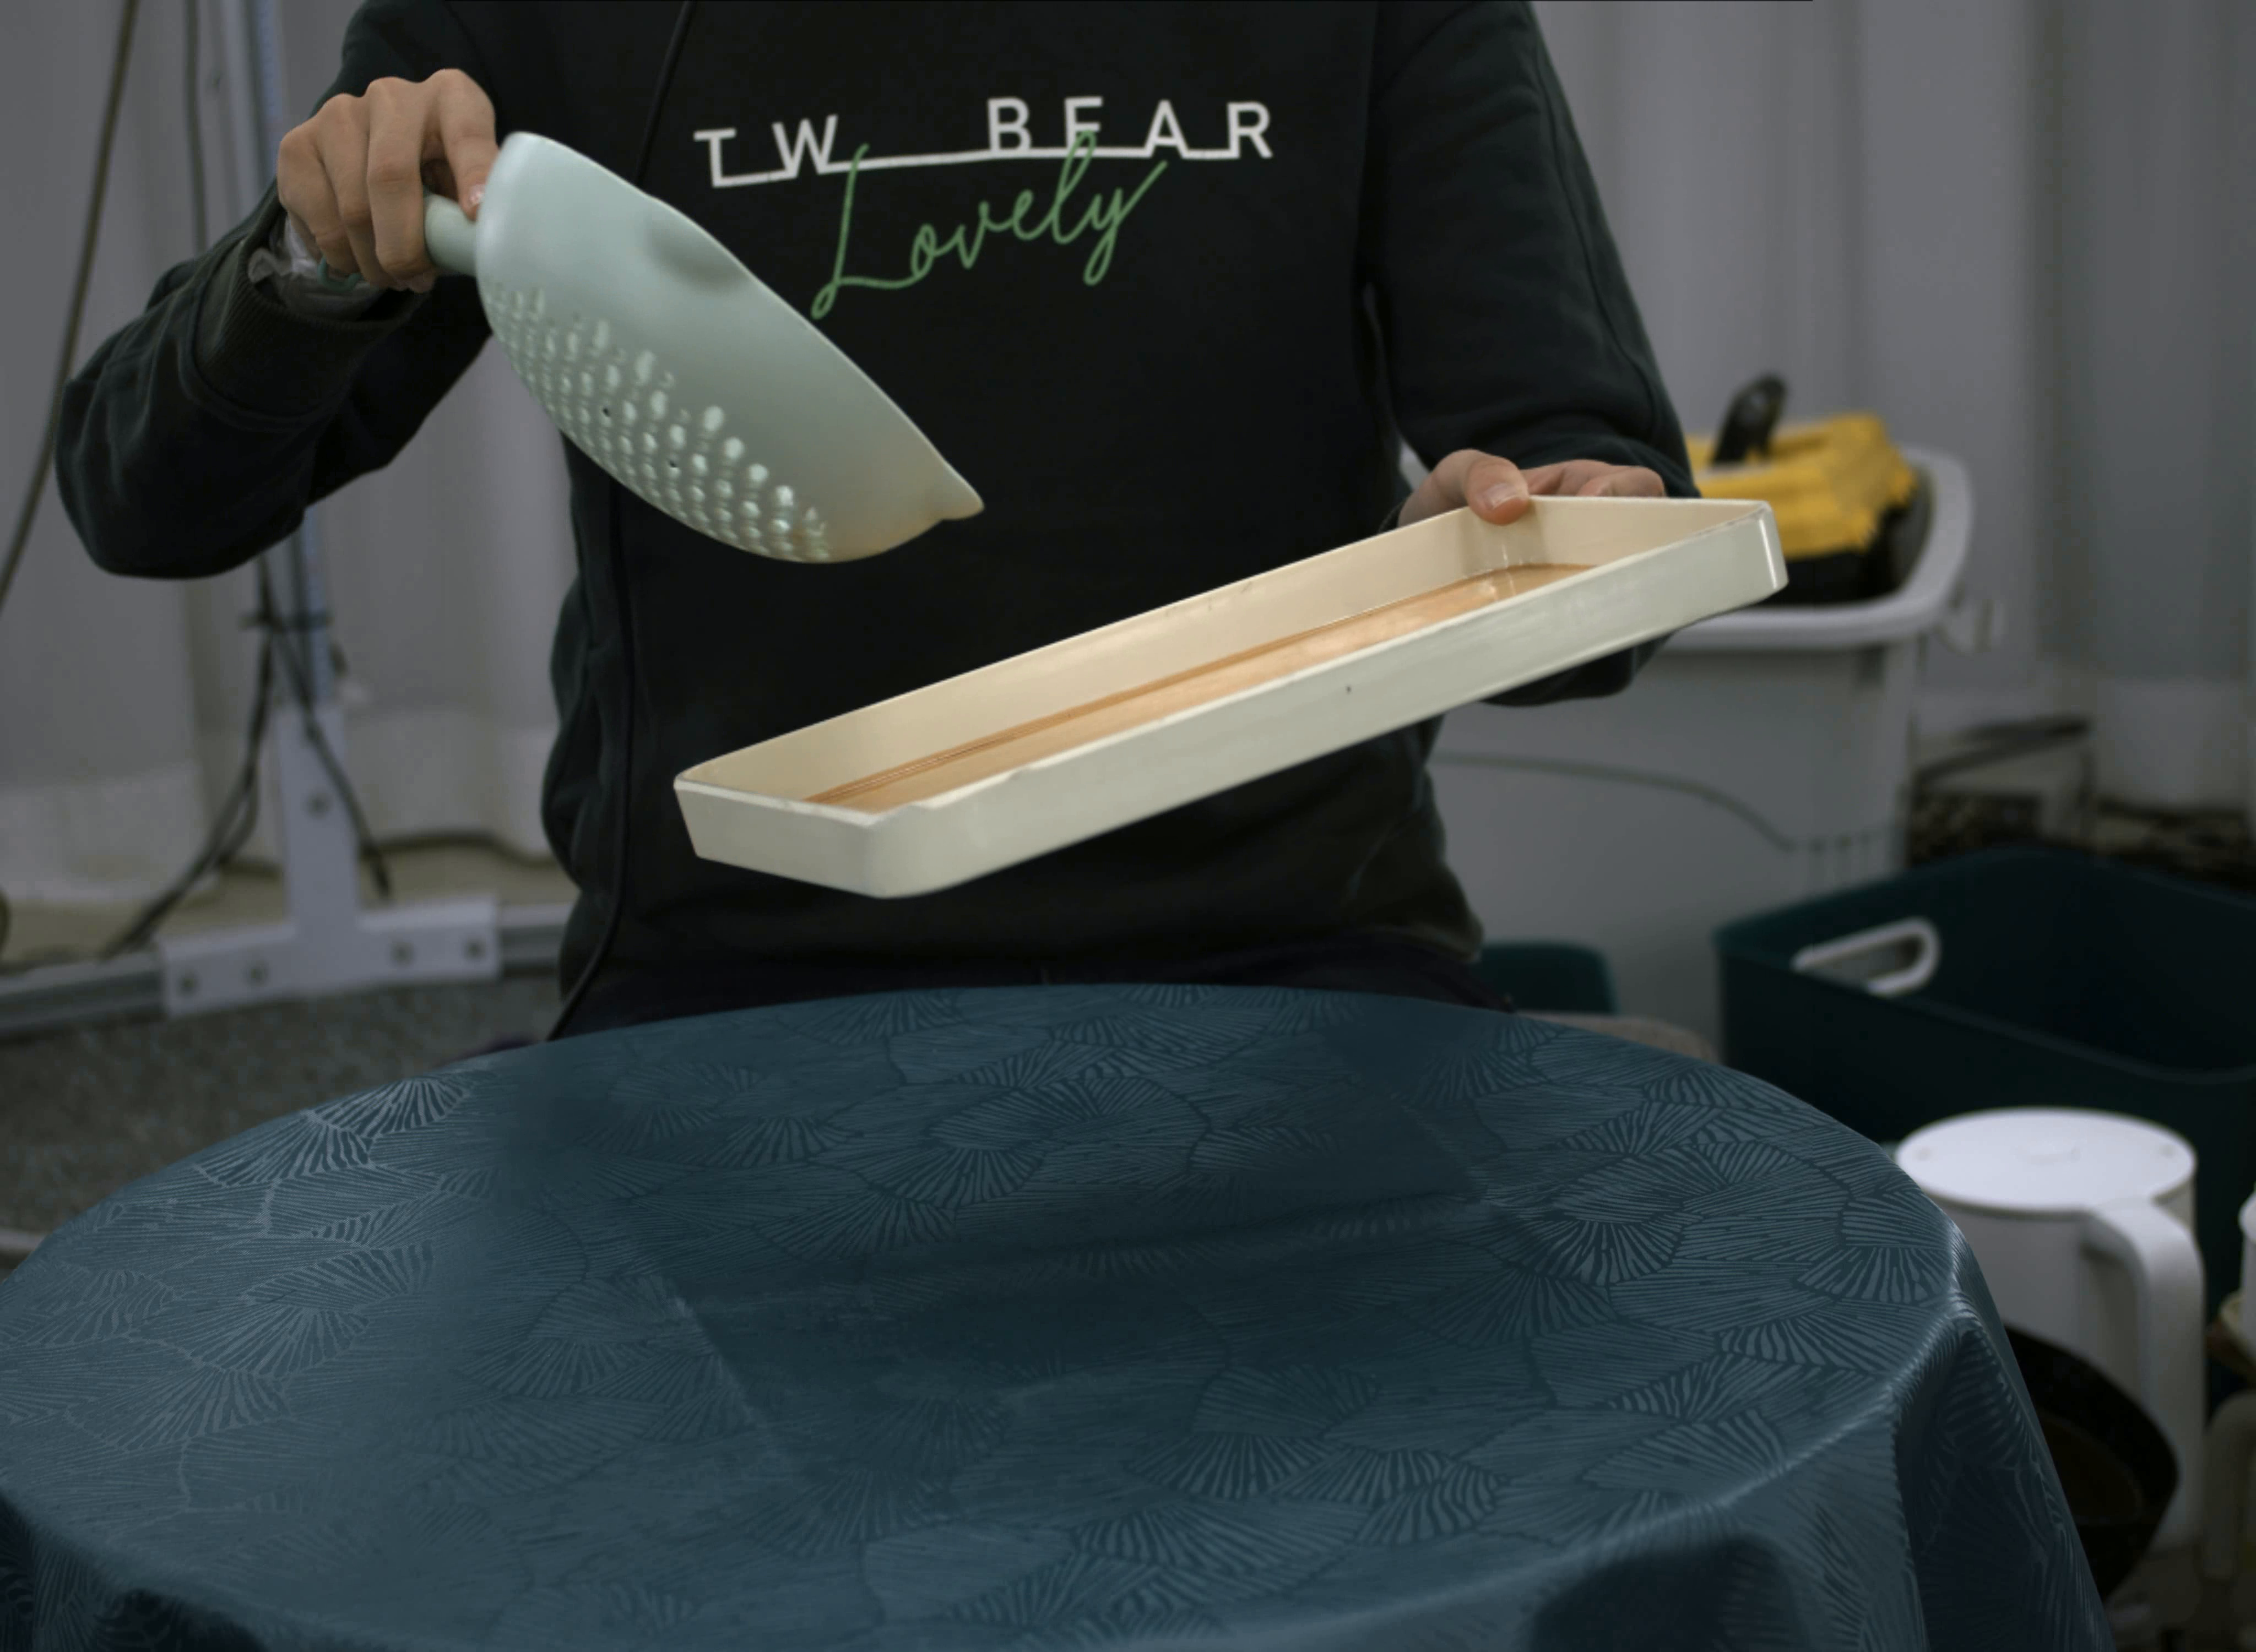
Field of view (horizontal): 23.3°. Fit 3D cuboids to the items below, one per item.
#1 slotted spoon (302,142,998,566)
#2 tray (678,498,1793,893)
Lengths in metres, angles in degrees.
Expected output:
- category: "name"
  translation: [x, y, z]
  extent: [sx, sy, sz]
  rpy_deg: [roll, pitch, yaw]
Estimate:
- category: "slotted spoon"
  translation: [-0.171, -0.161, 1.684]
  extent: [0.075, 0.167, 0.363]
  rpy_deg: [-48, 34, -2]
- category: "tray"
  translation: [0.030, -0.042, 1.626]
  extent: [0.299, 0.027, 0.192]
  rpy_deg: [-19, 11, -21]
